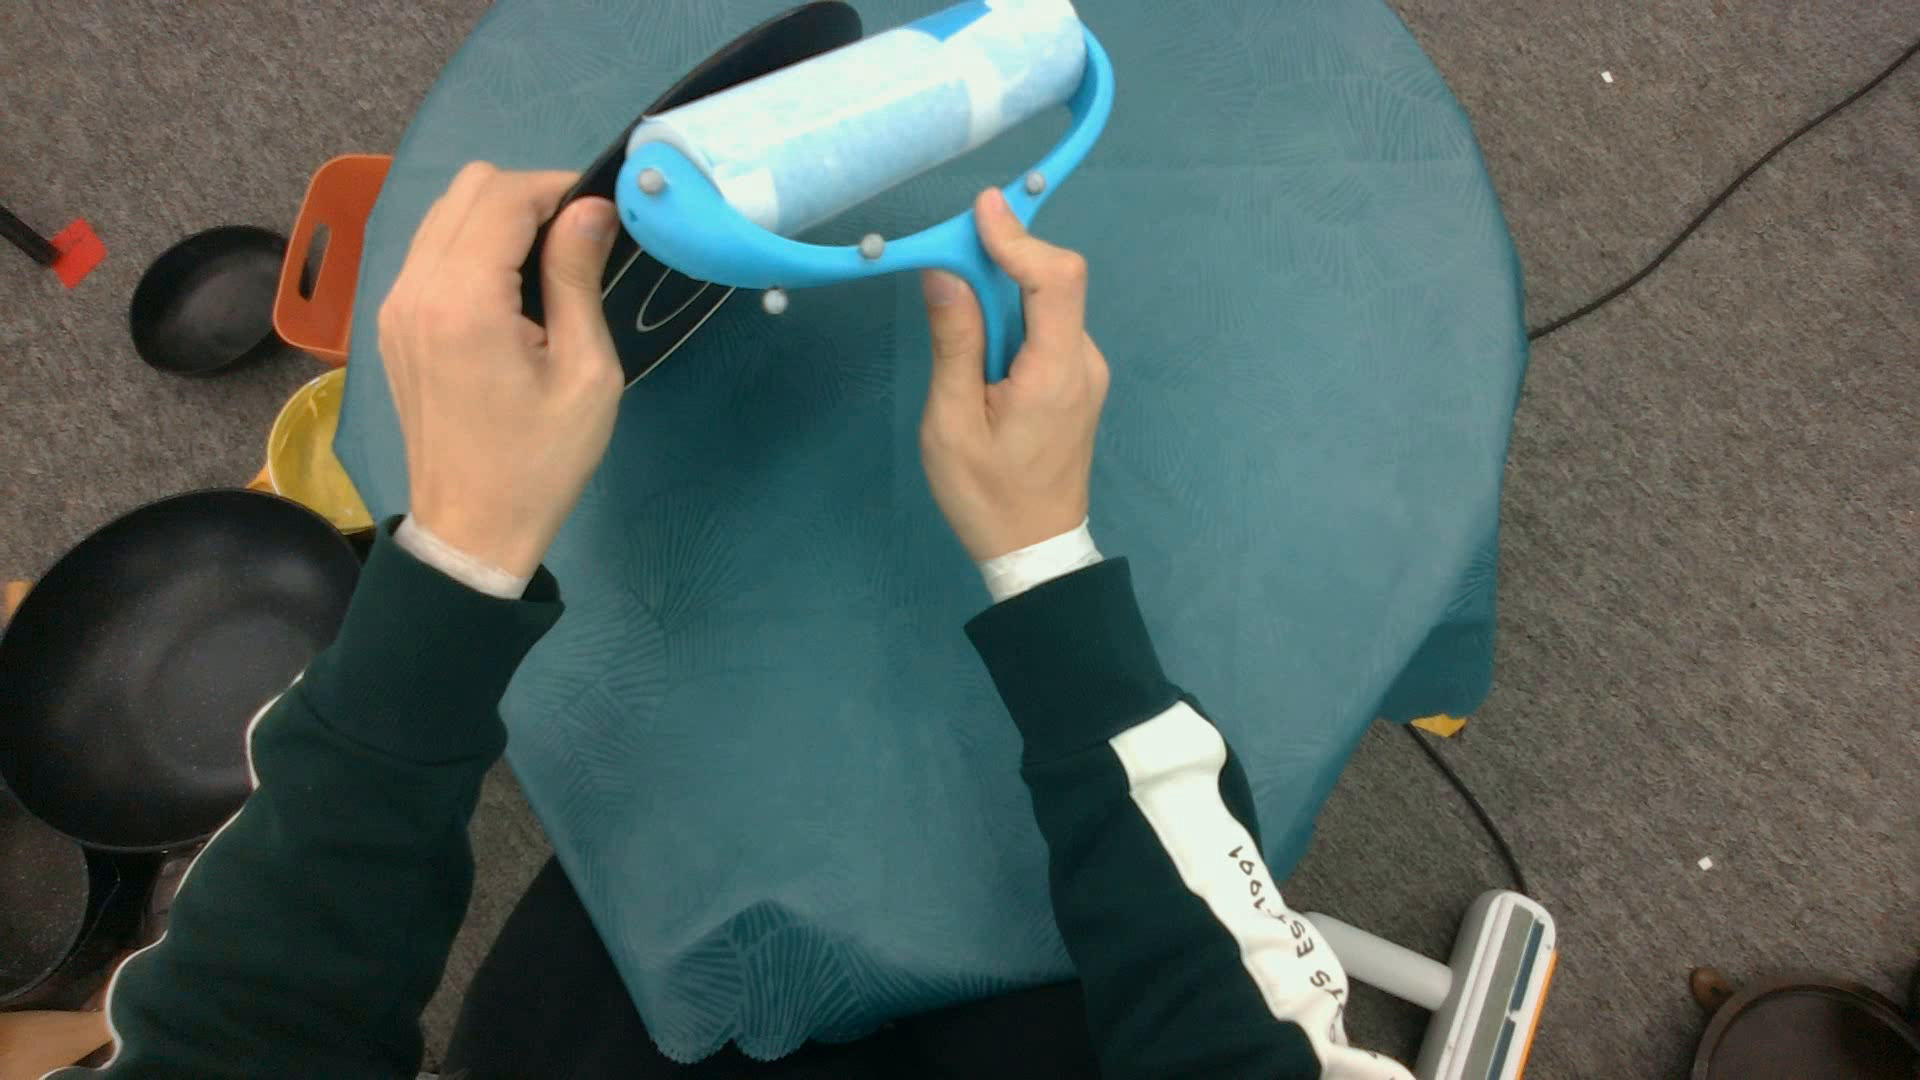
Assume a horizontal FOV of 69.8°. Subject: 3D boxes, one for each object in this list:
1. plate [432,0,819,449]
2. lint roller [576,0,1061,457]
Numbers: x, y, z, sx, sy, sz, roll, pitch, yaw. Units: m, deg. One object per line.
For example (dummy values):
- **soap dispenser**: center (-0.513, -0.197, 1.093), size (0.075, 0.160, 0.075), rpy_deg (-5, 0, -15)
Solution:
- **plate**: center (-0.132, -0.127, 0.591), size (0.023, 0.244, 0.245), rpy_deg (39, 78, -3)
- **lint roller**: center (-0.022, -0.117, 0.536), size (0.230, 0.067, 0.180), rpy_deg (-43, 114, -38)
